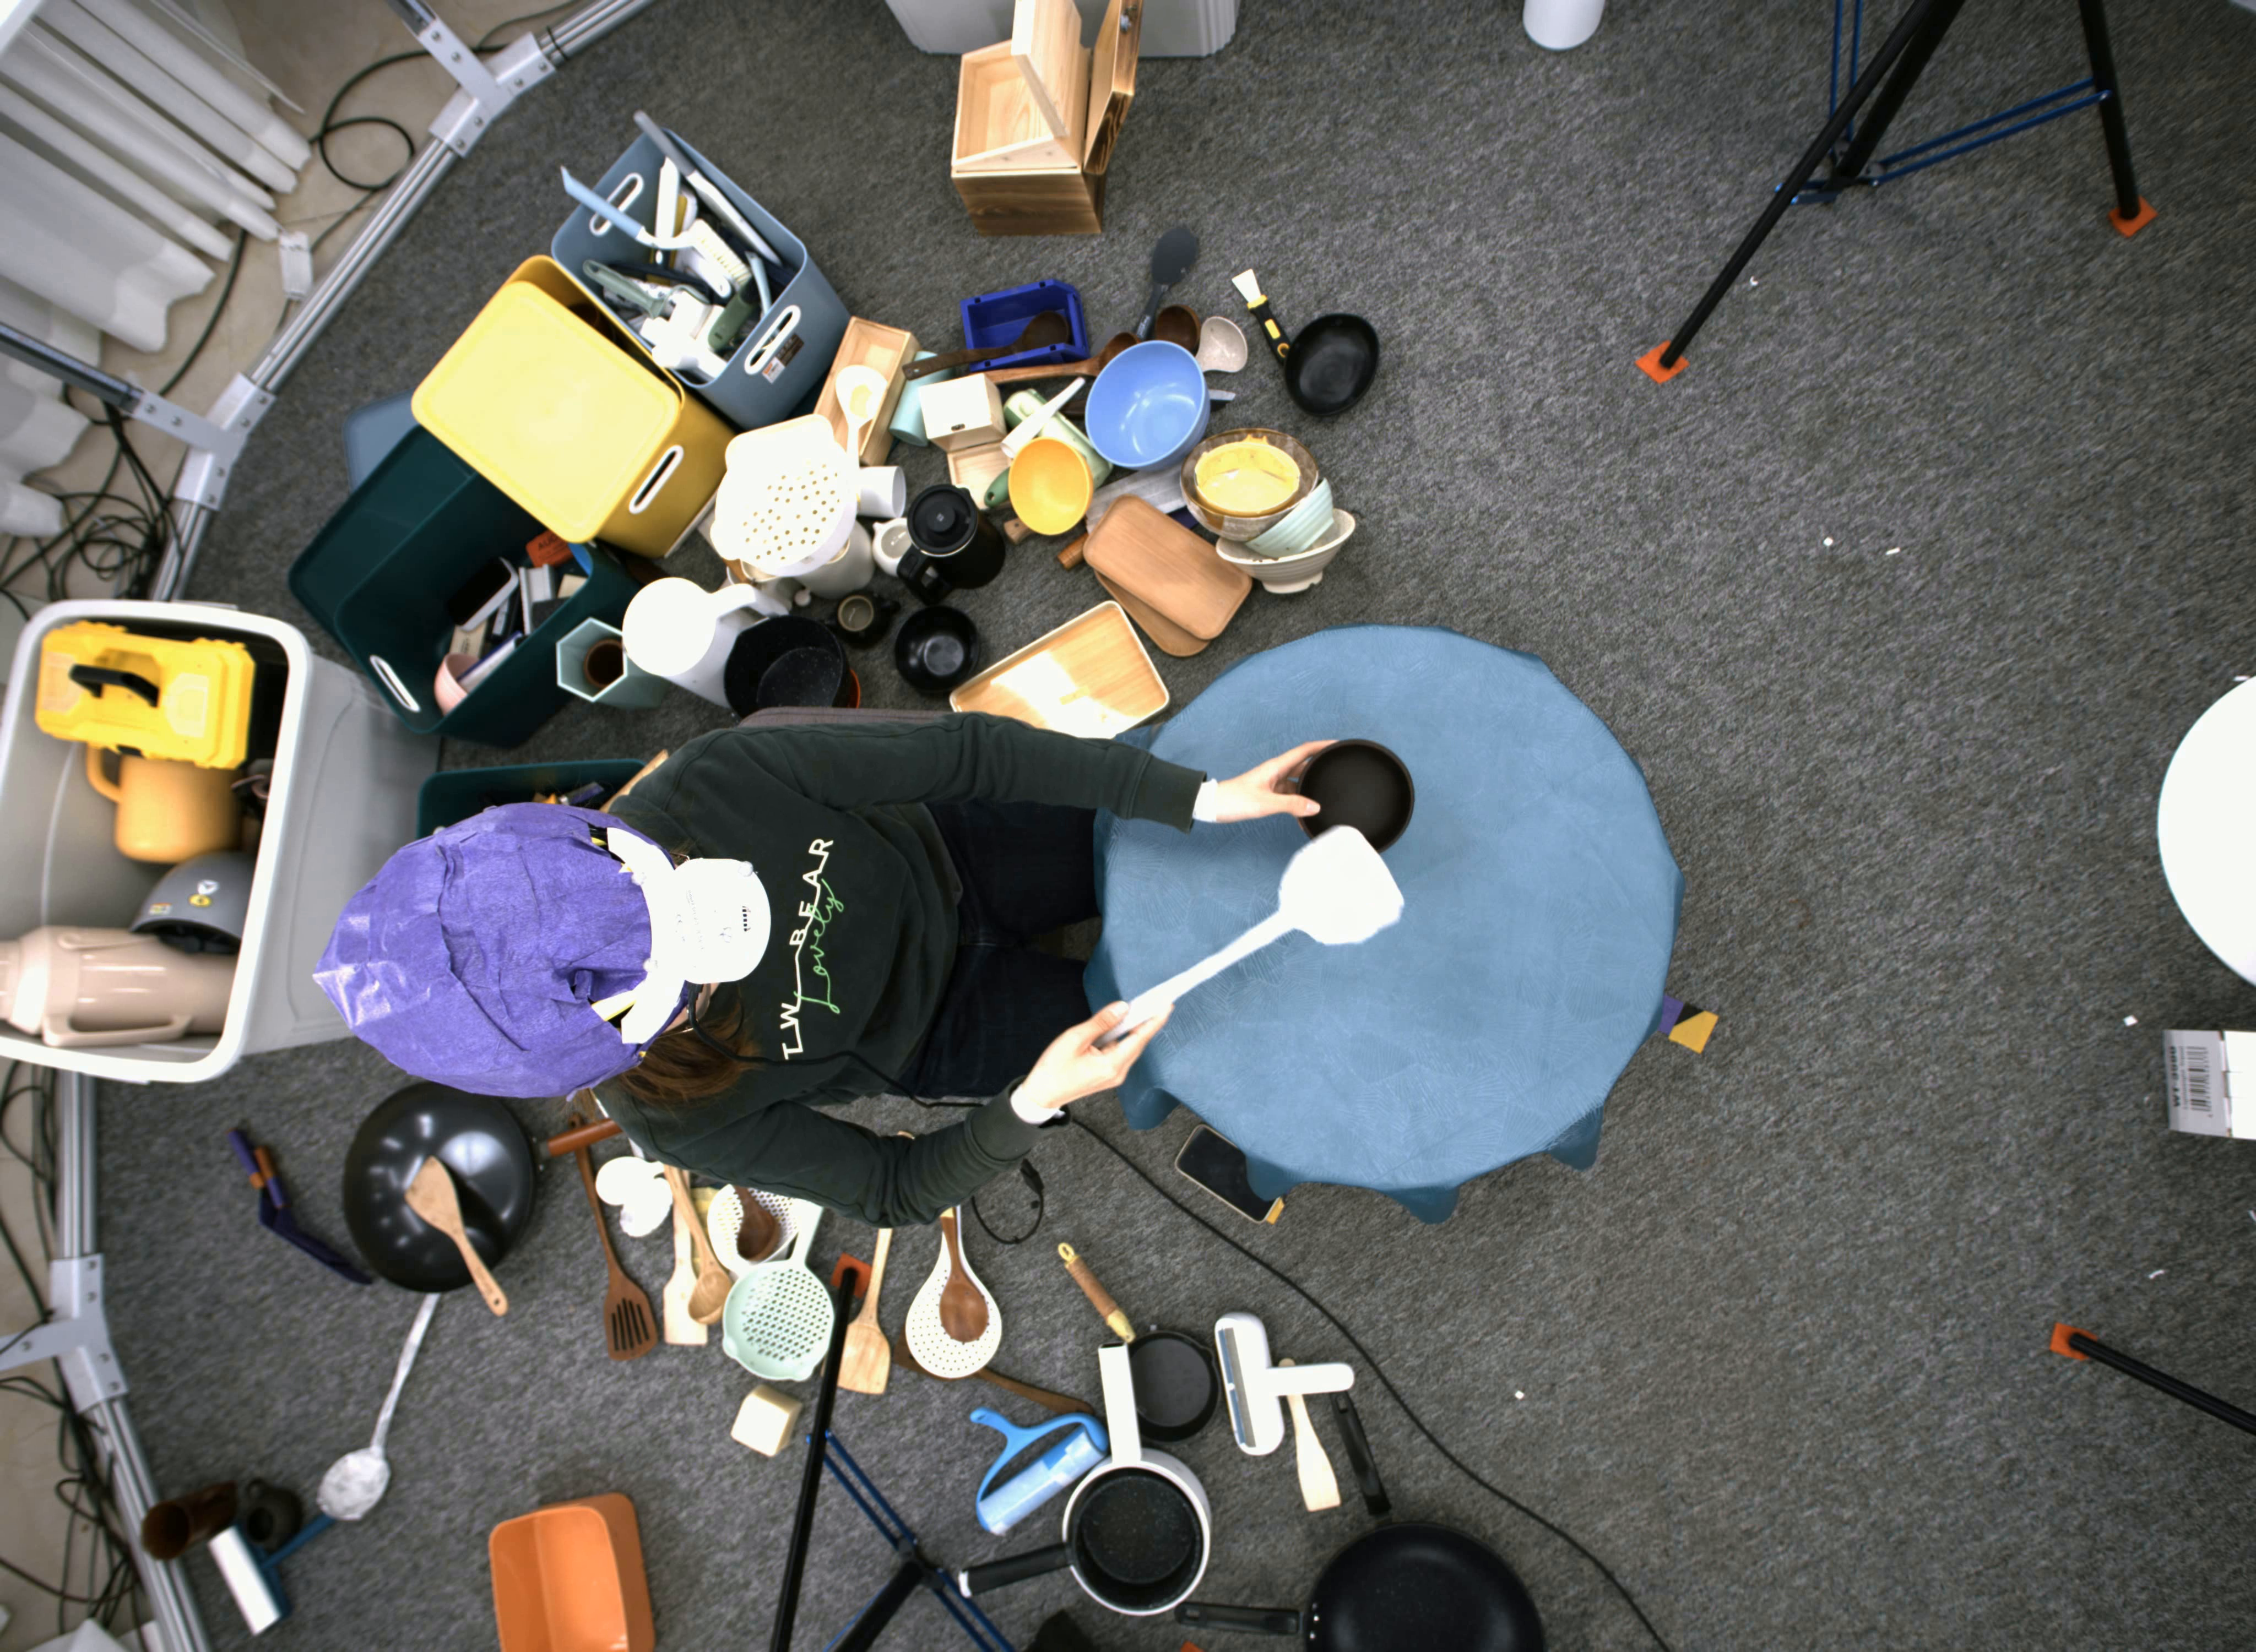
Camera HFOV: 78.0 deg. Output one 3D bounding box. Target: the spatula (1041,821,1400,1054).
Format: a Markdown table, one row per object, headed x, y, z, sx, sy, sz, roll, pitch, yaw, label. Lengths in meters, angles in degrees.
| x | y | z | sx | sy | sz | roll | pitch | yaw | label |
| --- | --- | --- | --- | --- | --- | --- | --- | --- | --- |
| 0.077 | 0.121 | 1.274 | 0.367 | 0.044 | 0.099 | -32 | 92 | 7 | spatula |

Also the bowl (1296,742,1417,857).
| x | y | z | sx | sy | sz | roll | pitch | yaw | label |
| --- | --- | --- | --- | --- | --- | --- | --- | --- | --- |
| 0.227 | -0.025 | 1.365 | 0.118 | 0.069 | 0.118 | 1 | 96 | 12 | bowl |
